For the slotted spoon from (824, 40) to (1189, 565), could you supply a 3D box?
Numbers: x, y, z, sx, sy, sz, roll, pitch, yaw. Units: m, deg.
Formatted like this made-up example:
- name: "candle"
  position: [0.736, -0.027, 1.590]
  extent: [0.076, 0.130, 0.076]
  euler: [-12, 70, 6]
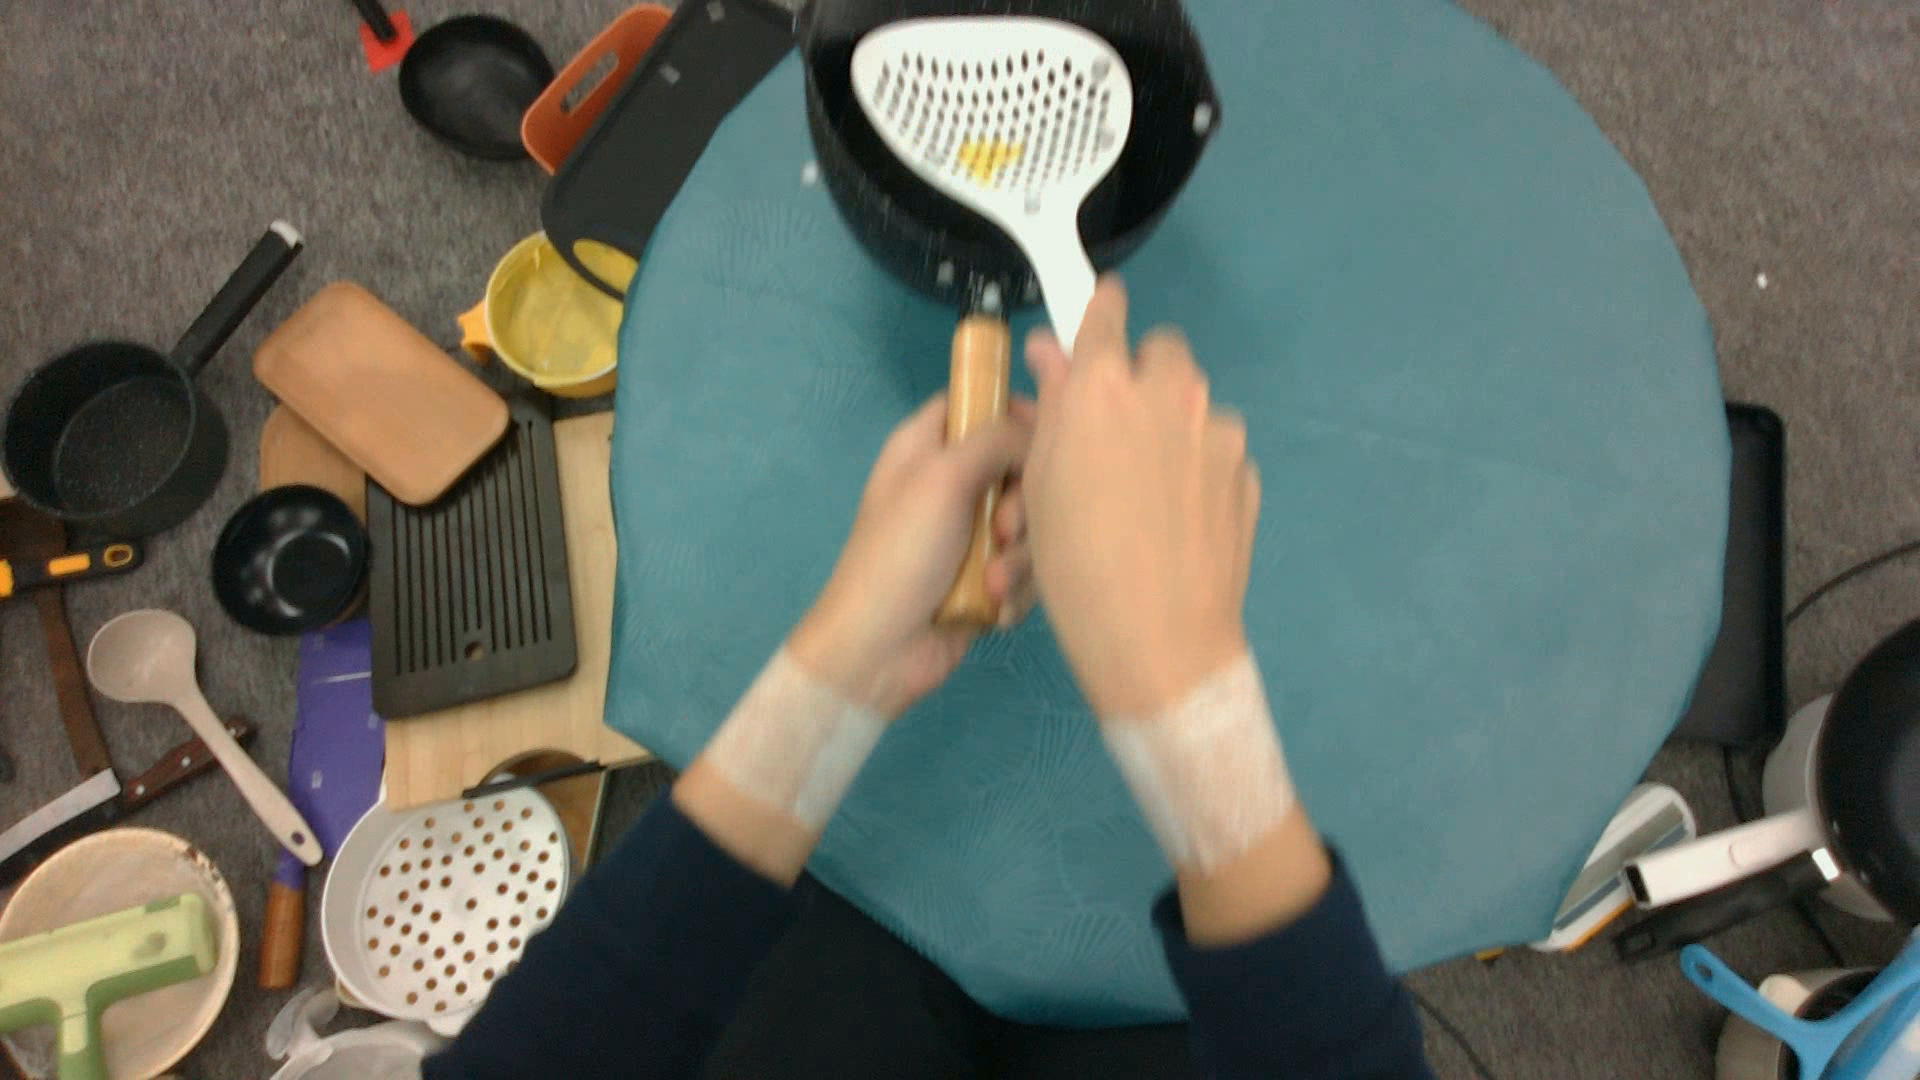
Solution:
- name: "slotted spoon"
  position: [0.028, -0.124, 0.597]
  extent: [0.137, 0.050, 0.349]
  euler: [-7, 43, -12]

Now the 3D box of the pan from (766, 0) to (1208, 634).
- name: "pan"
  position: [0.004, -0.115, 0.628]
  extent: [0.207, 0.108, 0.343]
  euler: [8, 72, -12]
